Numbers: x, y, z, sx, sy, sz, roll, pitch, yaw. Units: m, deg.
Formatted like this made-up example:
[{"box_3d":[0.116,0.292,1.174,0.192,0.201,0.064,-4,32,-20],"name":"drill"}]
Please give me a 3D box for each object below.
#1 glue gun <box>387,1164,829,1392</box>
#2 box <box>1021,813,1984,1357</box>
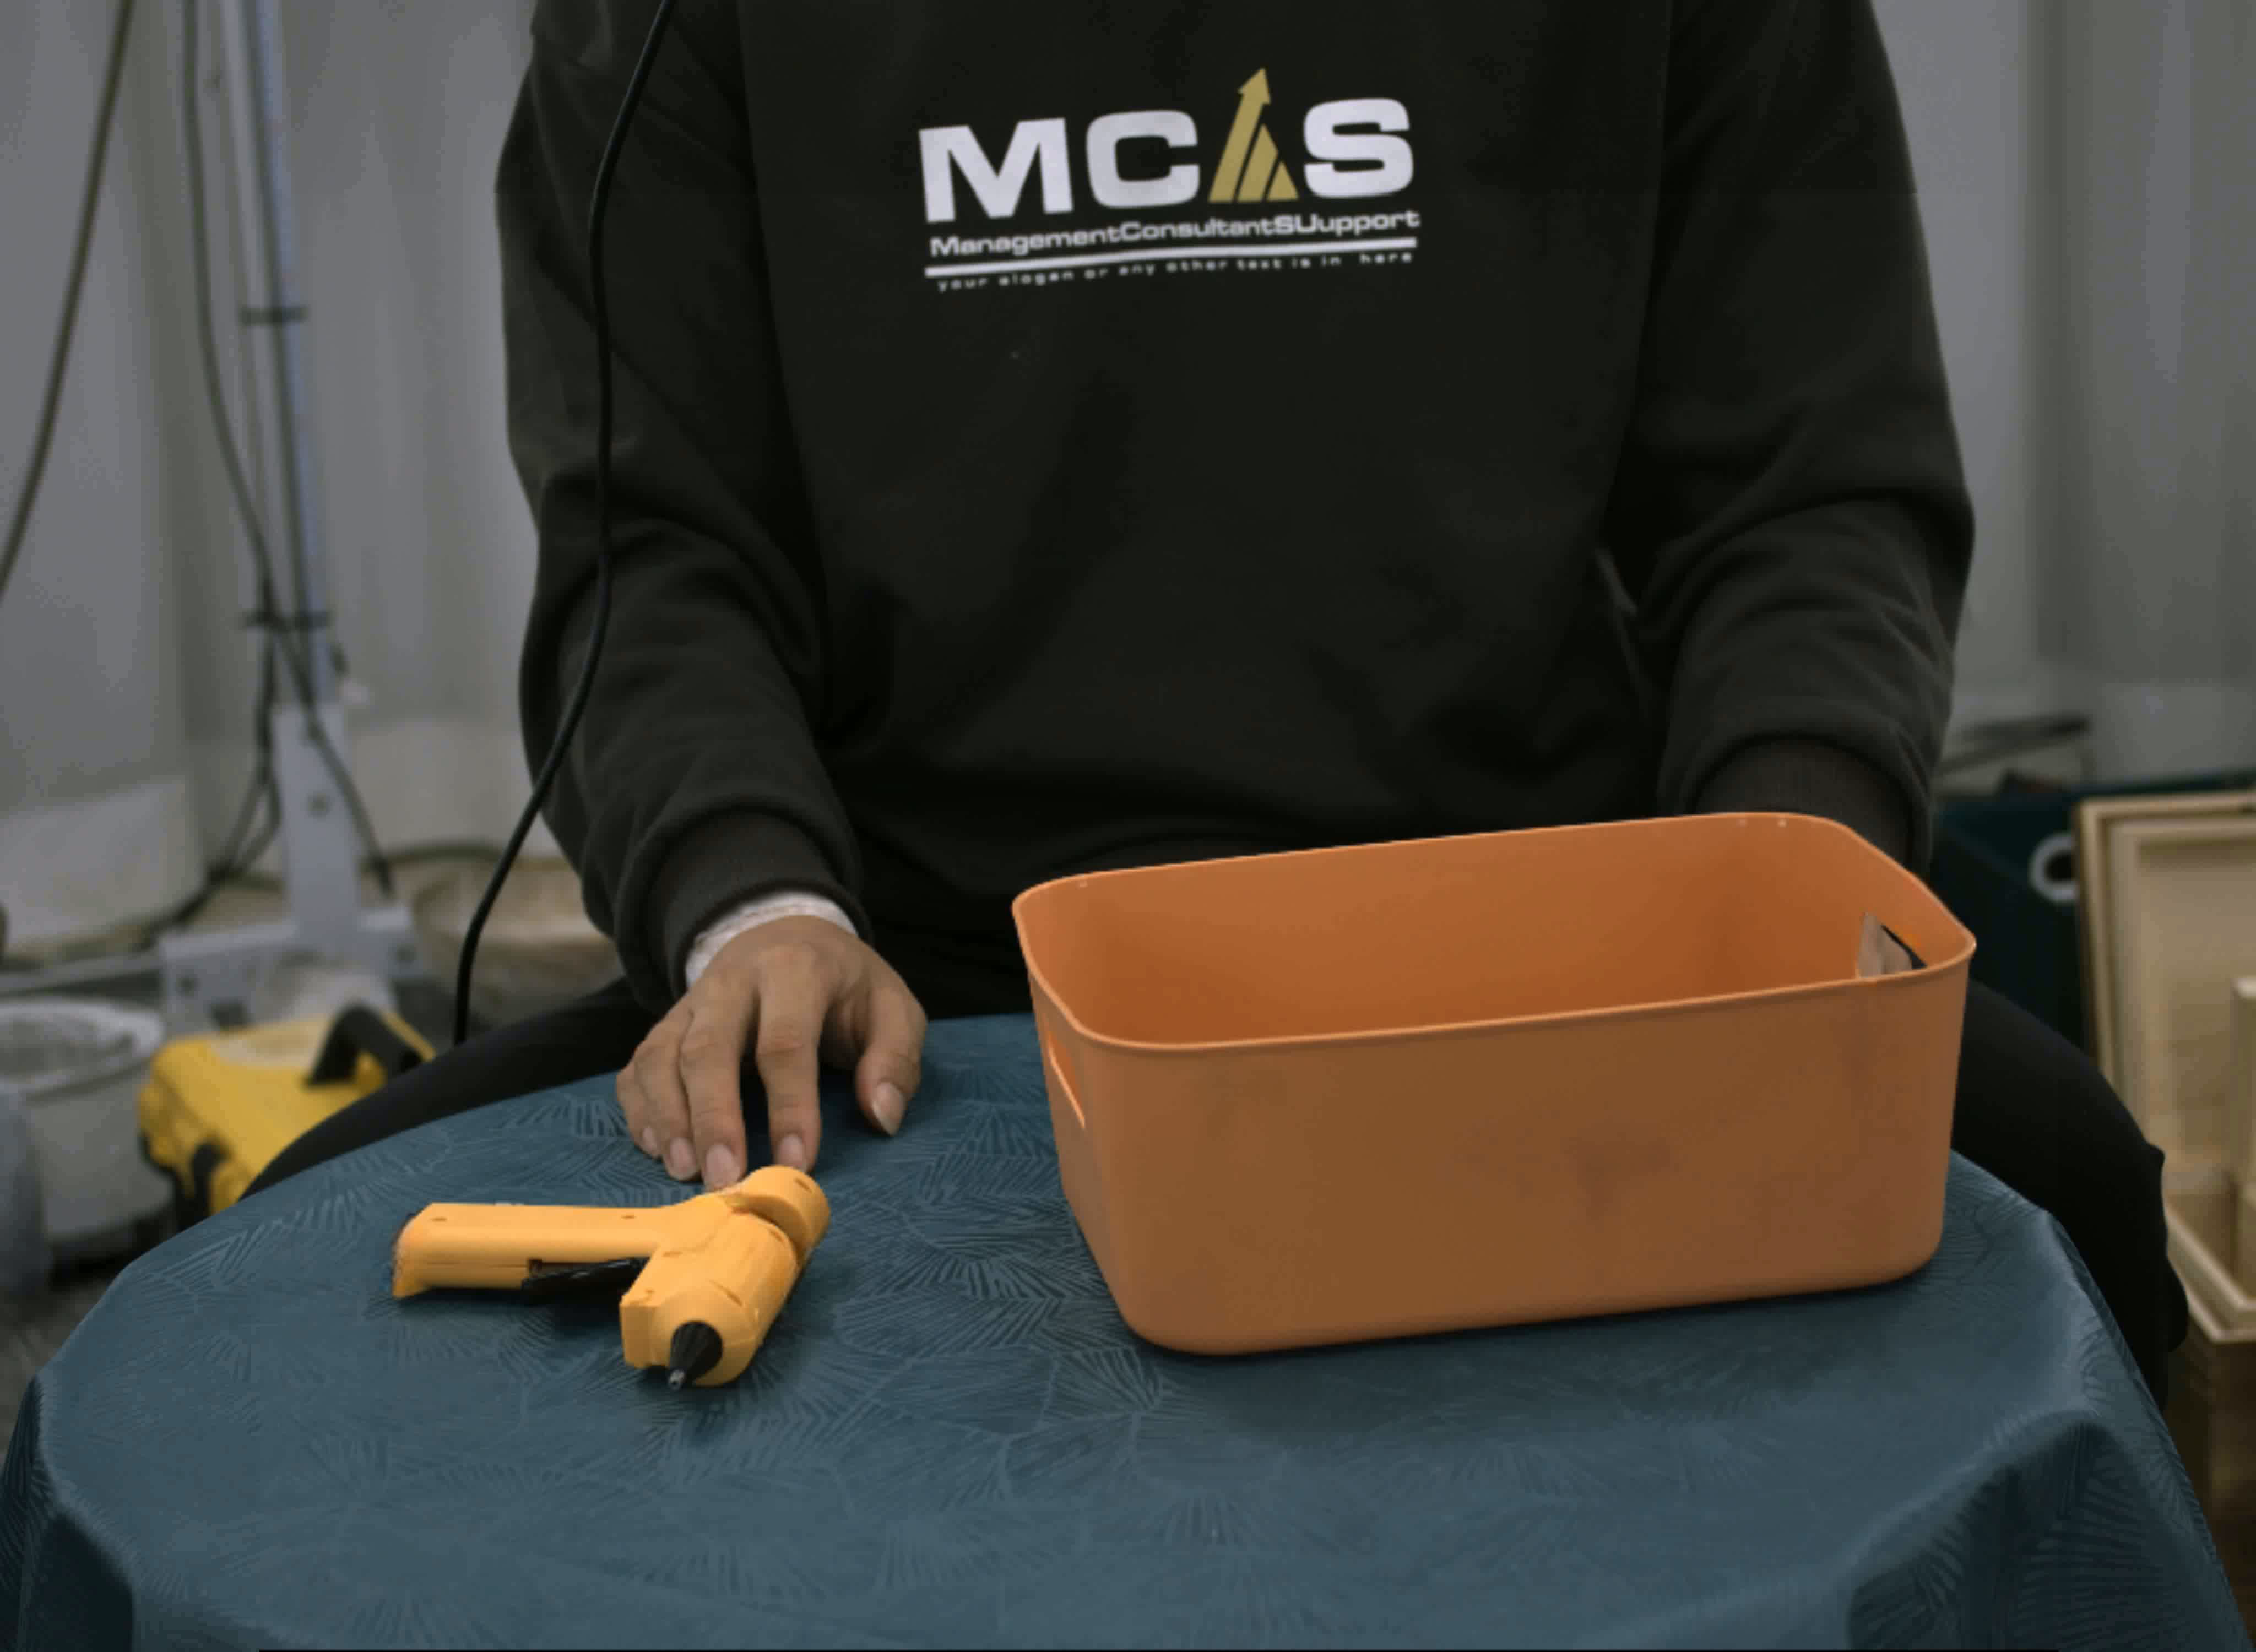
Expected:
[{"box_3d":[-0.161,0.139,1.605,0.133,0.031,0.152,-3,15,4],"name":"glue gun"},{"box_3d":[0.109,0.076,1.644,0.272,0.102,0.201,-6,15,-8],"name":"box"}]
